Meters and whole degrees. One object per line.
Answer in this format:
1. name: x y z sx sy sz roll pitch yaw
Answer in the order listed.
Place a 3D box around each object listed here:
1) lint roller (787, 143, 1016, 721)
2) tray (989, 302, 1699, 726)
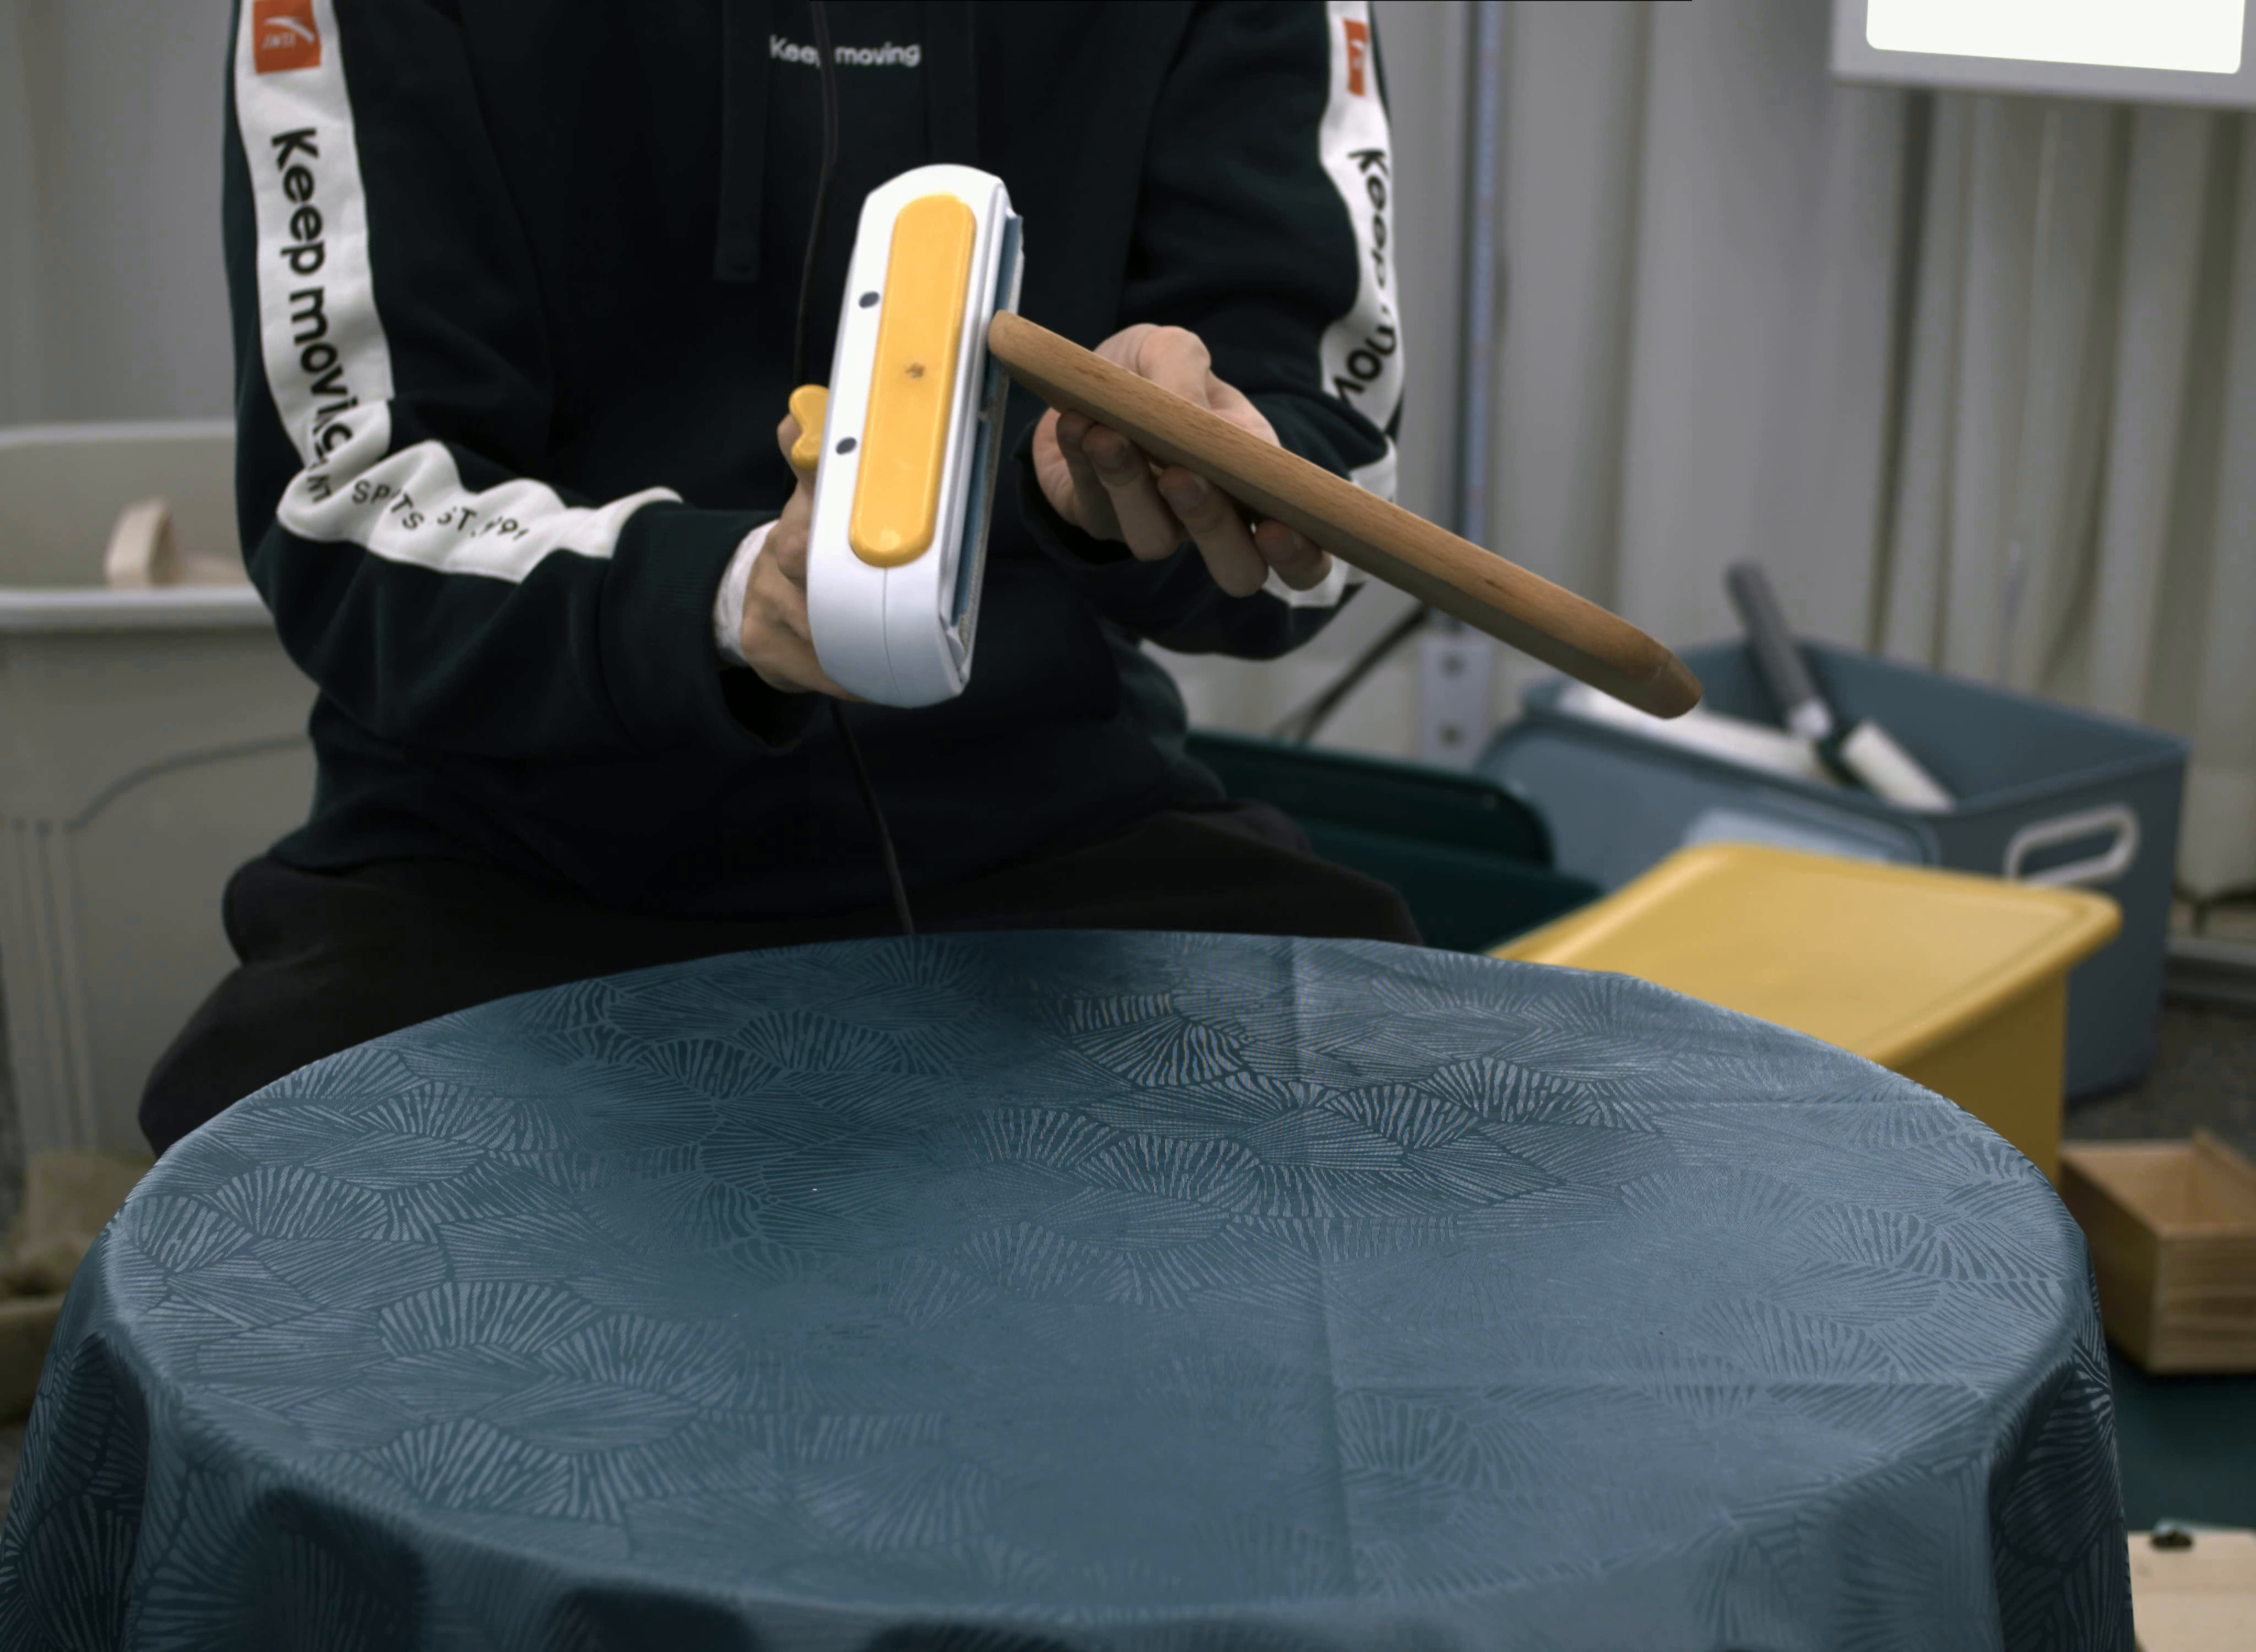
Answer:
1. lint roller: -0.075 -0.103 1.766 0.074 0.194 0.191 0 56 1
2. tray: 0.069 -0.100 1.711 0.248 0.023 0.131 28 -4 16
